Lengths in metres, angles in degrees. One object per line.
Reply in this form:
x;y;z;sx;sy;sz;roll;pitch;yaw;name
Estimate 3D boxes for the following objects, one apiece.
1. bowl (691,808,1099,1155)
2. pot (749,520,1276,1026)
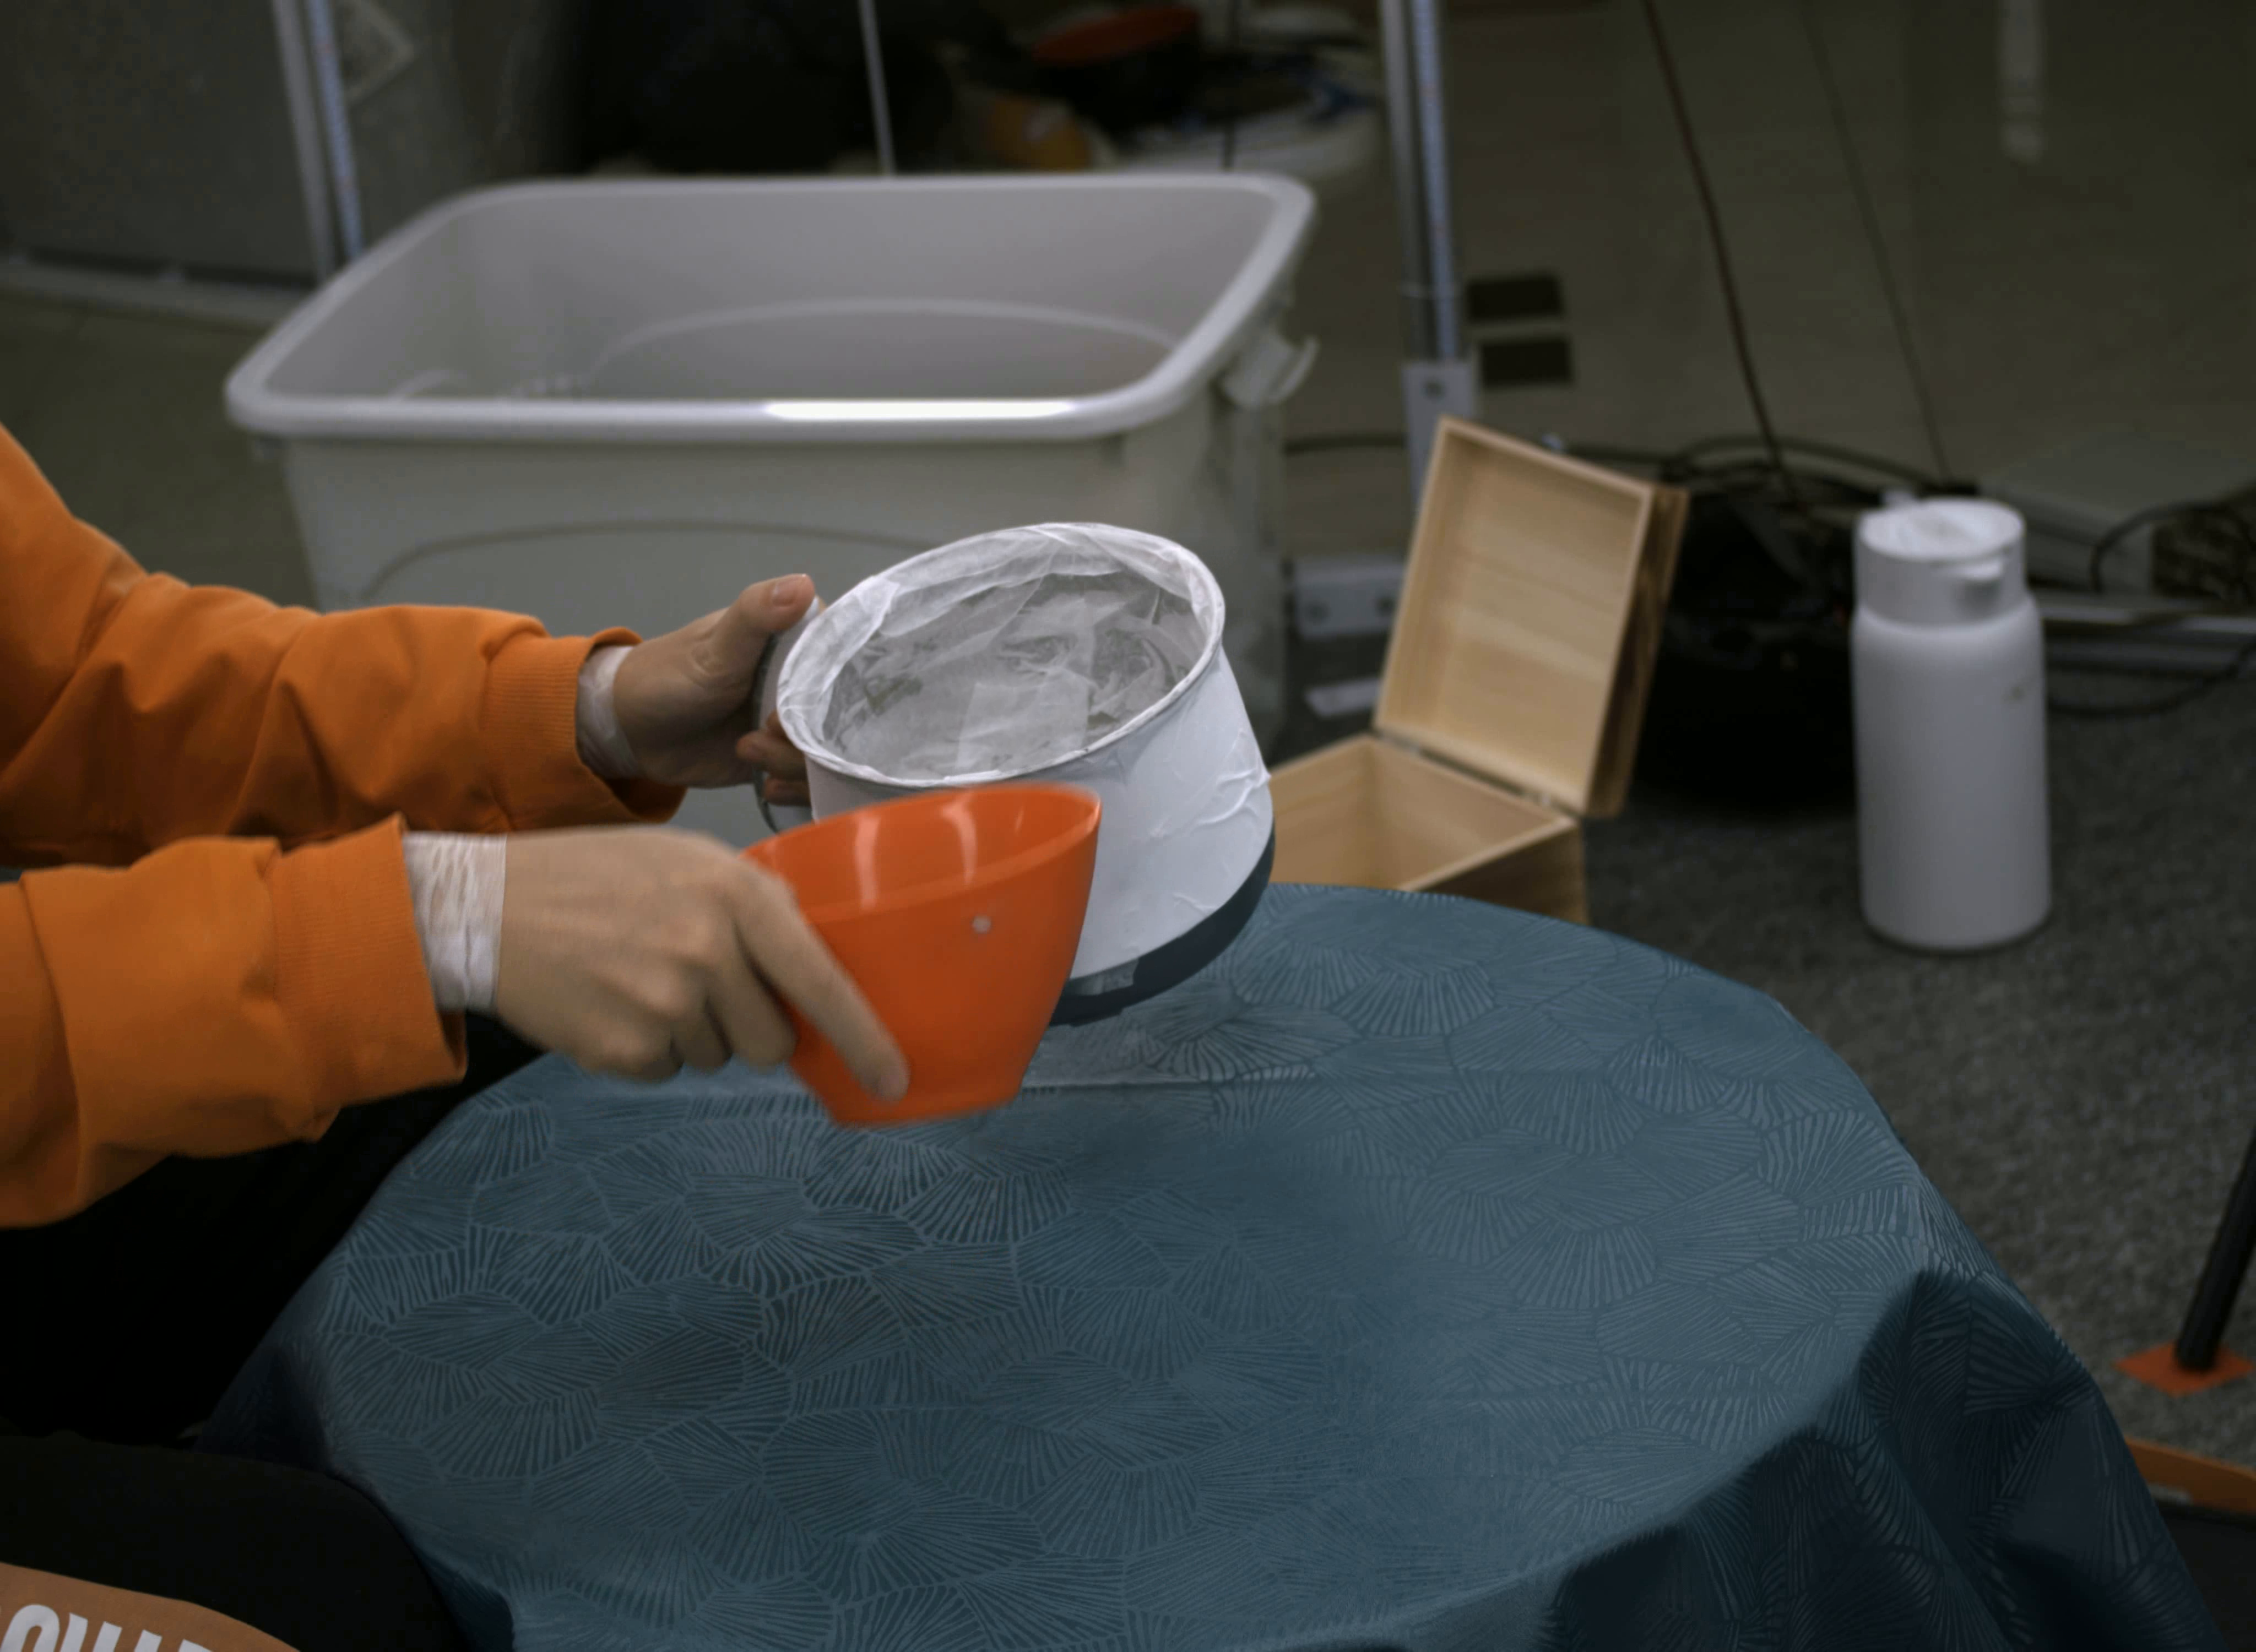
-0.076;0.057;2.006;0.148;0.105;0.147;-9;7;1;bowl
-0.058;-0.022;2.214;0.232;0.139;0.176;13;43;34;pot
